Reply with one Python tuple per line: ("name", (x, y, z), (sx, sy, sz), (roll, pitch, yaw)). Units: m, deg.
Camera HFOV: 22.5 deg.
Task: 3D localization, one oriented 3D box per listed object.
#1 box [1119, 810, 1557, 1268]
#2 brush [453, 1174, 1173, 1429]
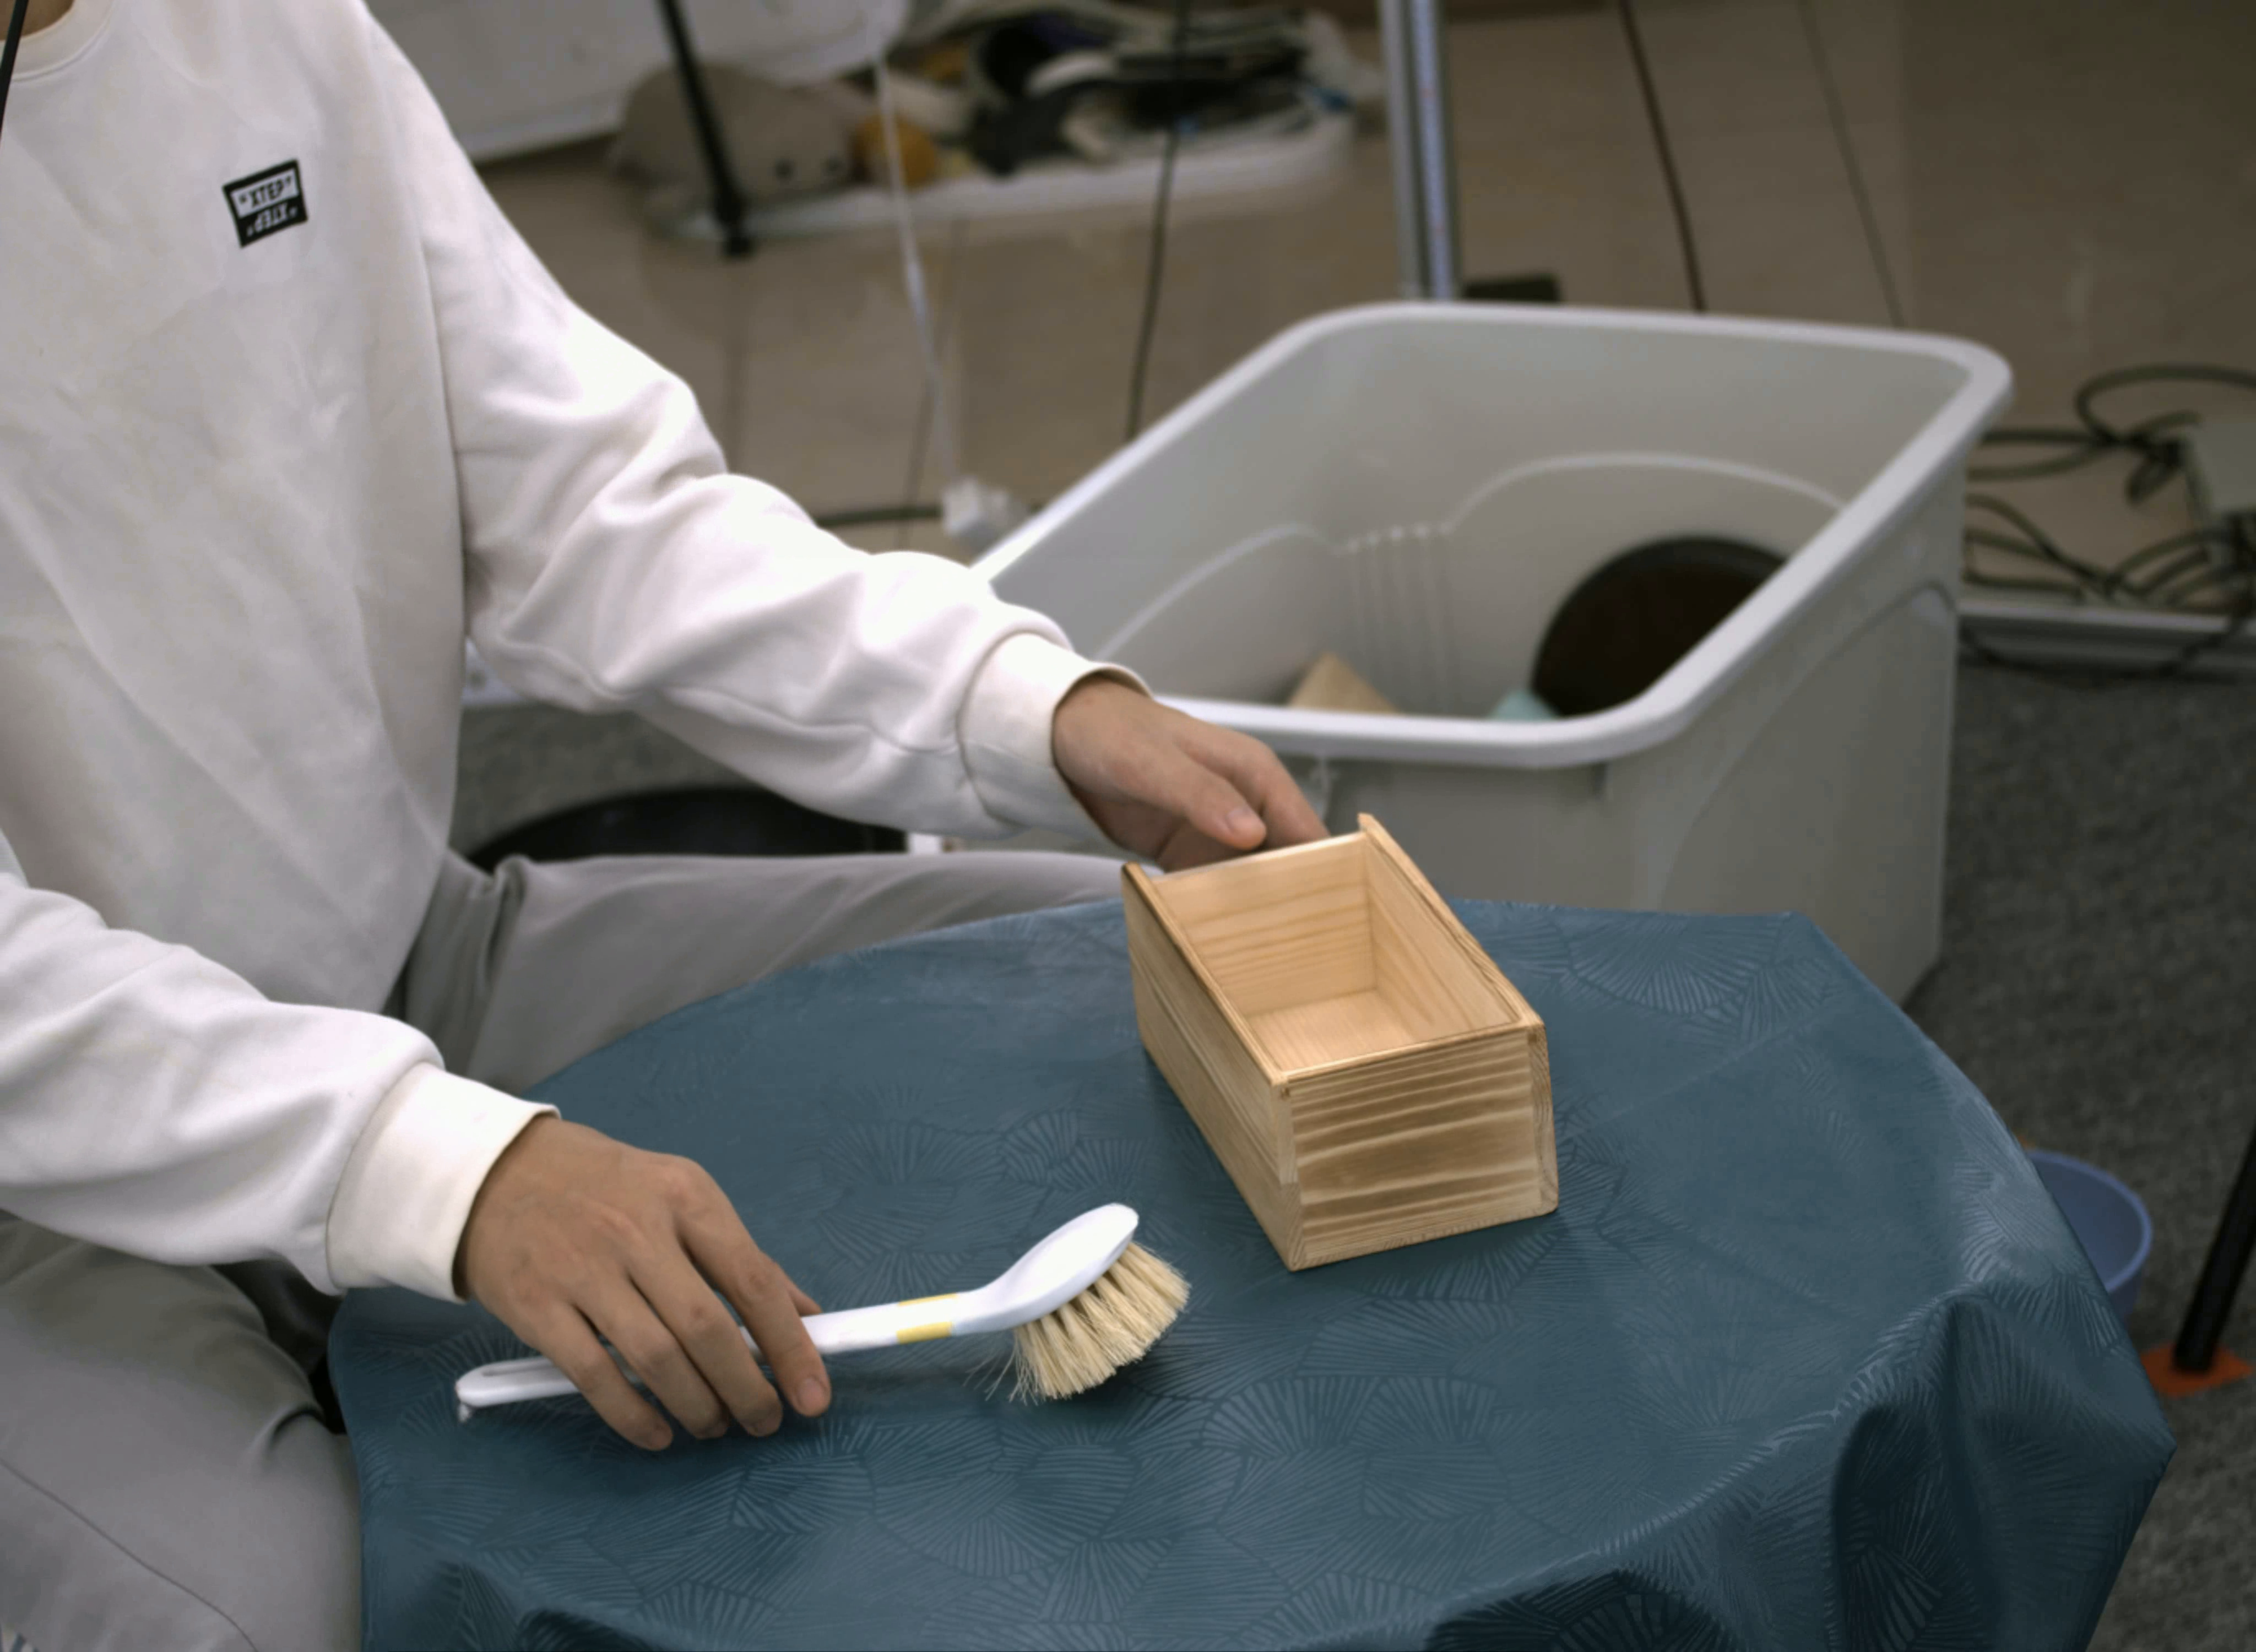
("box", (0.078, 0.078, 2.162), (0.107, 0.081, 0.208), (-13, 25, -11))
("brush", (-0.110, 0.192, 2.038), (0.266, 0.056, 0.068), (-19, 8, 7))
